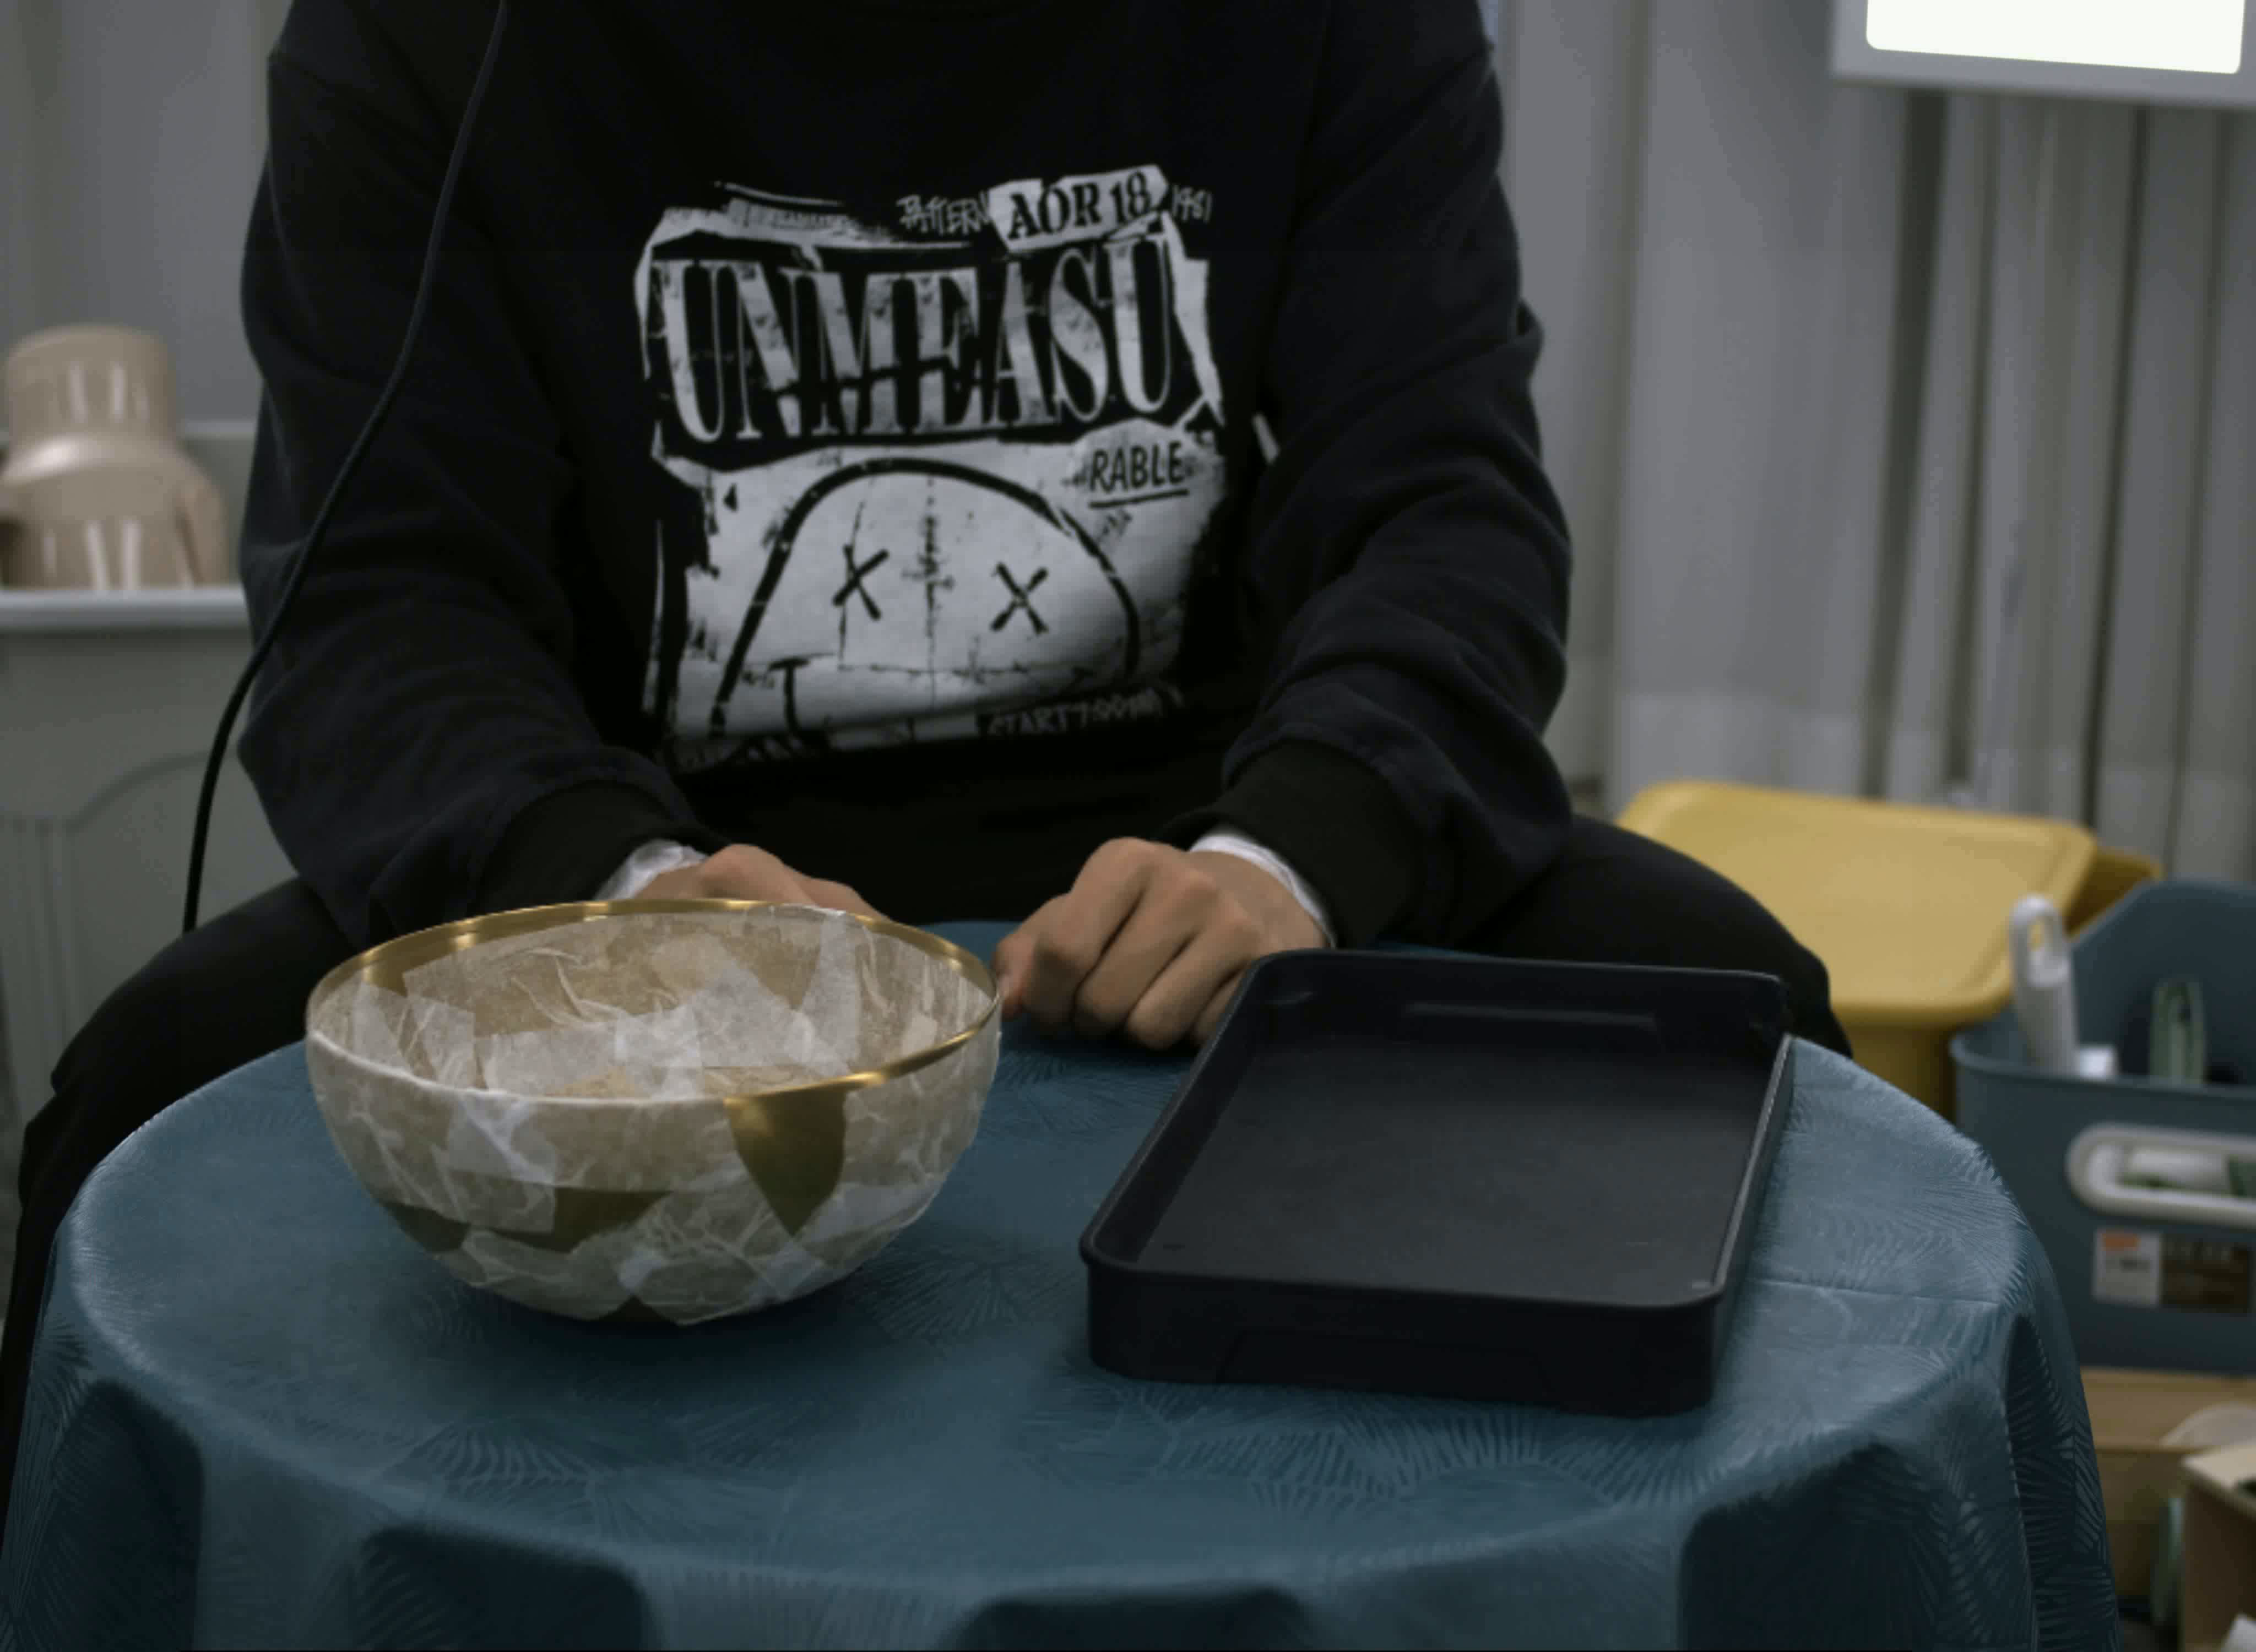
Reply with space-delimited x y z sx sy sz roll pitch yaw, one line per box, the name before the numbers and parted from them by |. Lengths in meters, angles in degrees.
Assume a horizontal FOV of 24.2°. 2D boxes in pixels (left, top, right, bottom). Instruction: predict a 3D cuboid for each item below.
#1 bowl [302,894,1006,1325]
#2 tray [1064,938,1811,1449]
bowl | -0.132 0.090 1.530 0.214 0.095 0.213 -1 16 1
tray | 0.102 0.104 1.603 0.183 0.037 0.317 5 18 12
